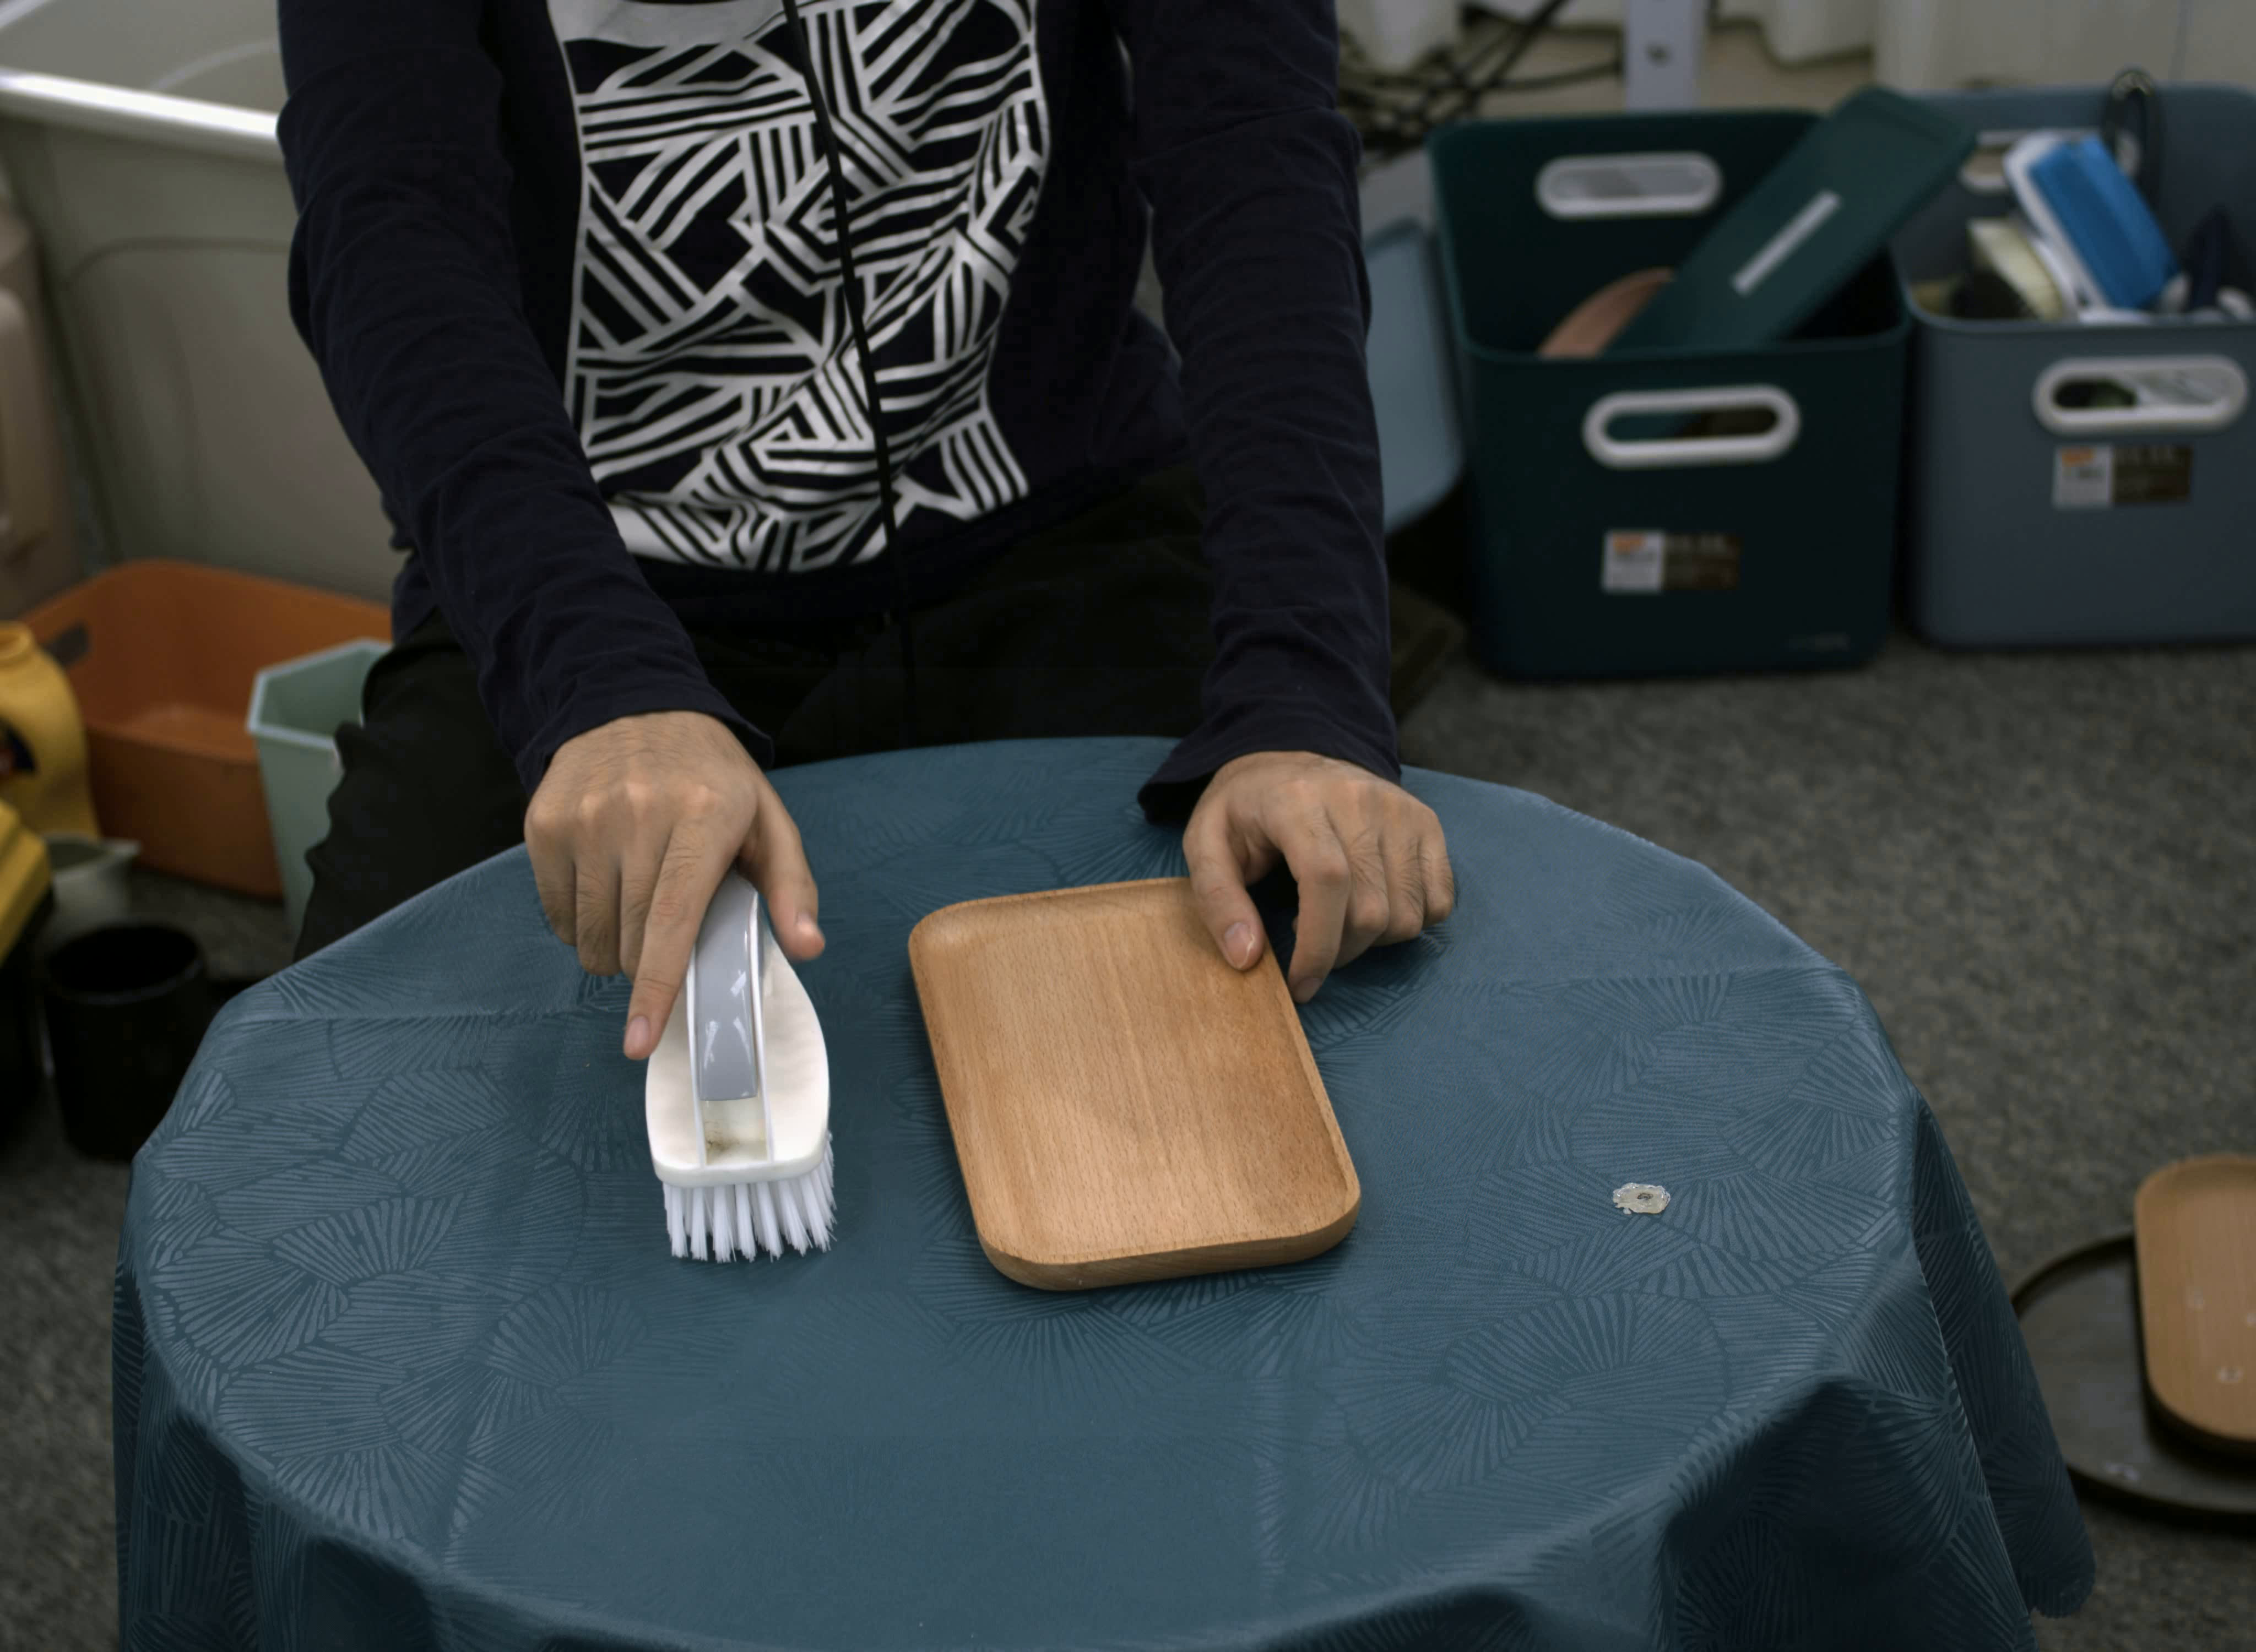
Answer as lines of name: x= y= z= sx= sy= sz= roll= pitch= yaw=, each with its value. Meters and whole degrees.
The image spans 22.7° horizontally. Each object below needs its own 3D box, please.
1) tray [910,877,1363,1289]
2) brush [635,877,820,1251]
tray: x=-0.001 y=0.085 z=1.913 sx=0.130 sy=0.022 sz=0.254 roll=-4 pitch=26 yaw=-7
brush: x=-0.135 y=0.064 z=1.885 sx=0.061 sy=0.093 sz=0.178 roll=-4 pitch=25 yaw=-2
